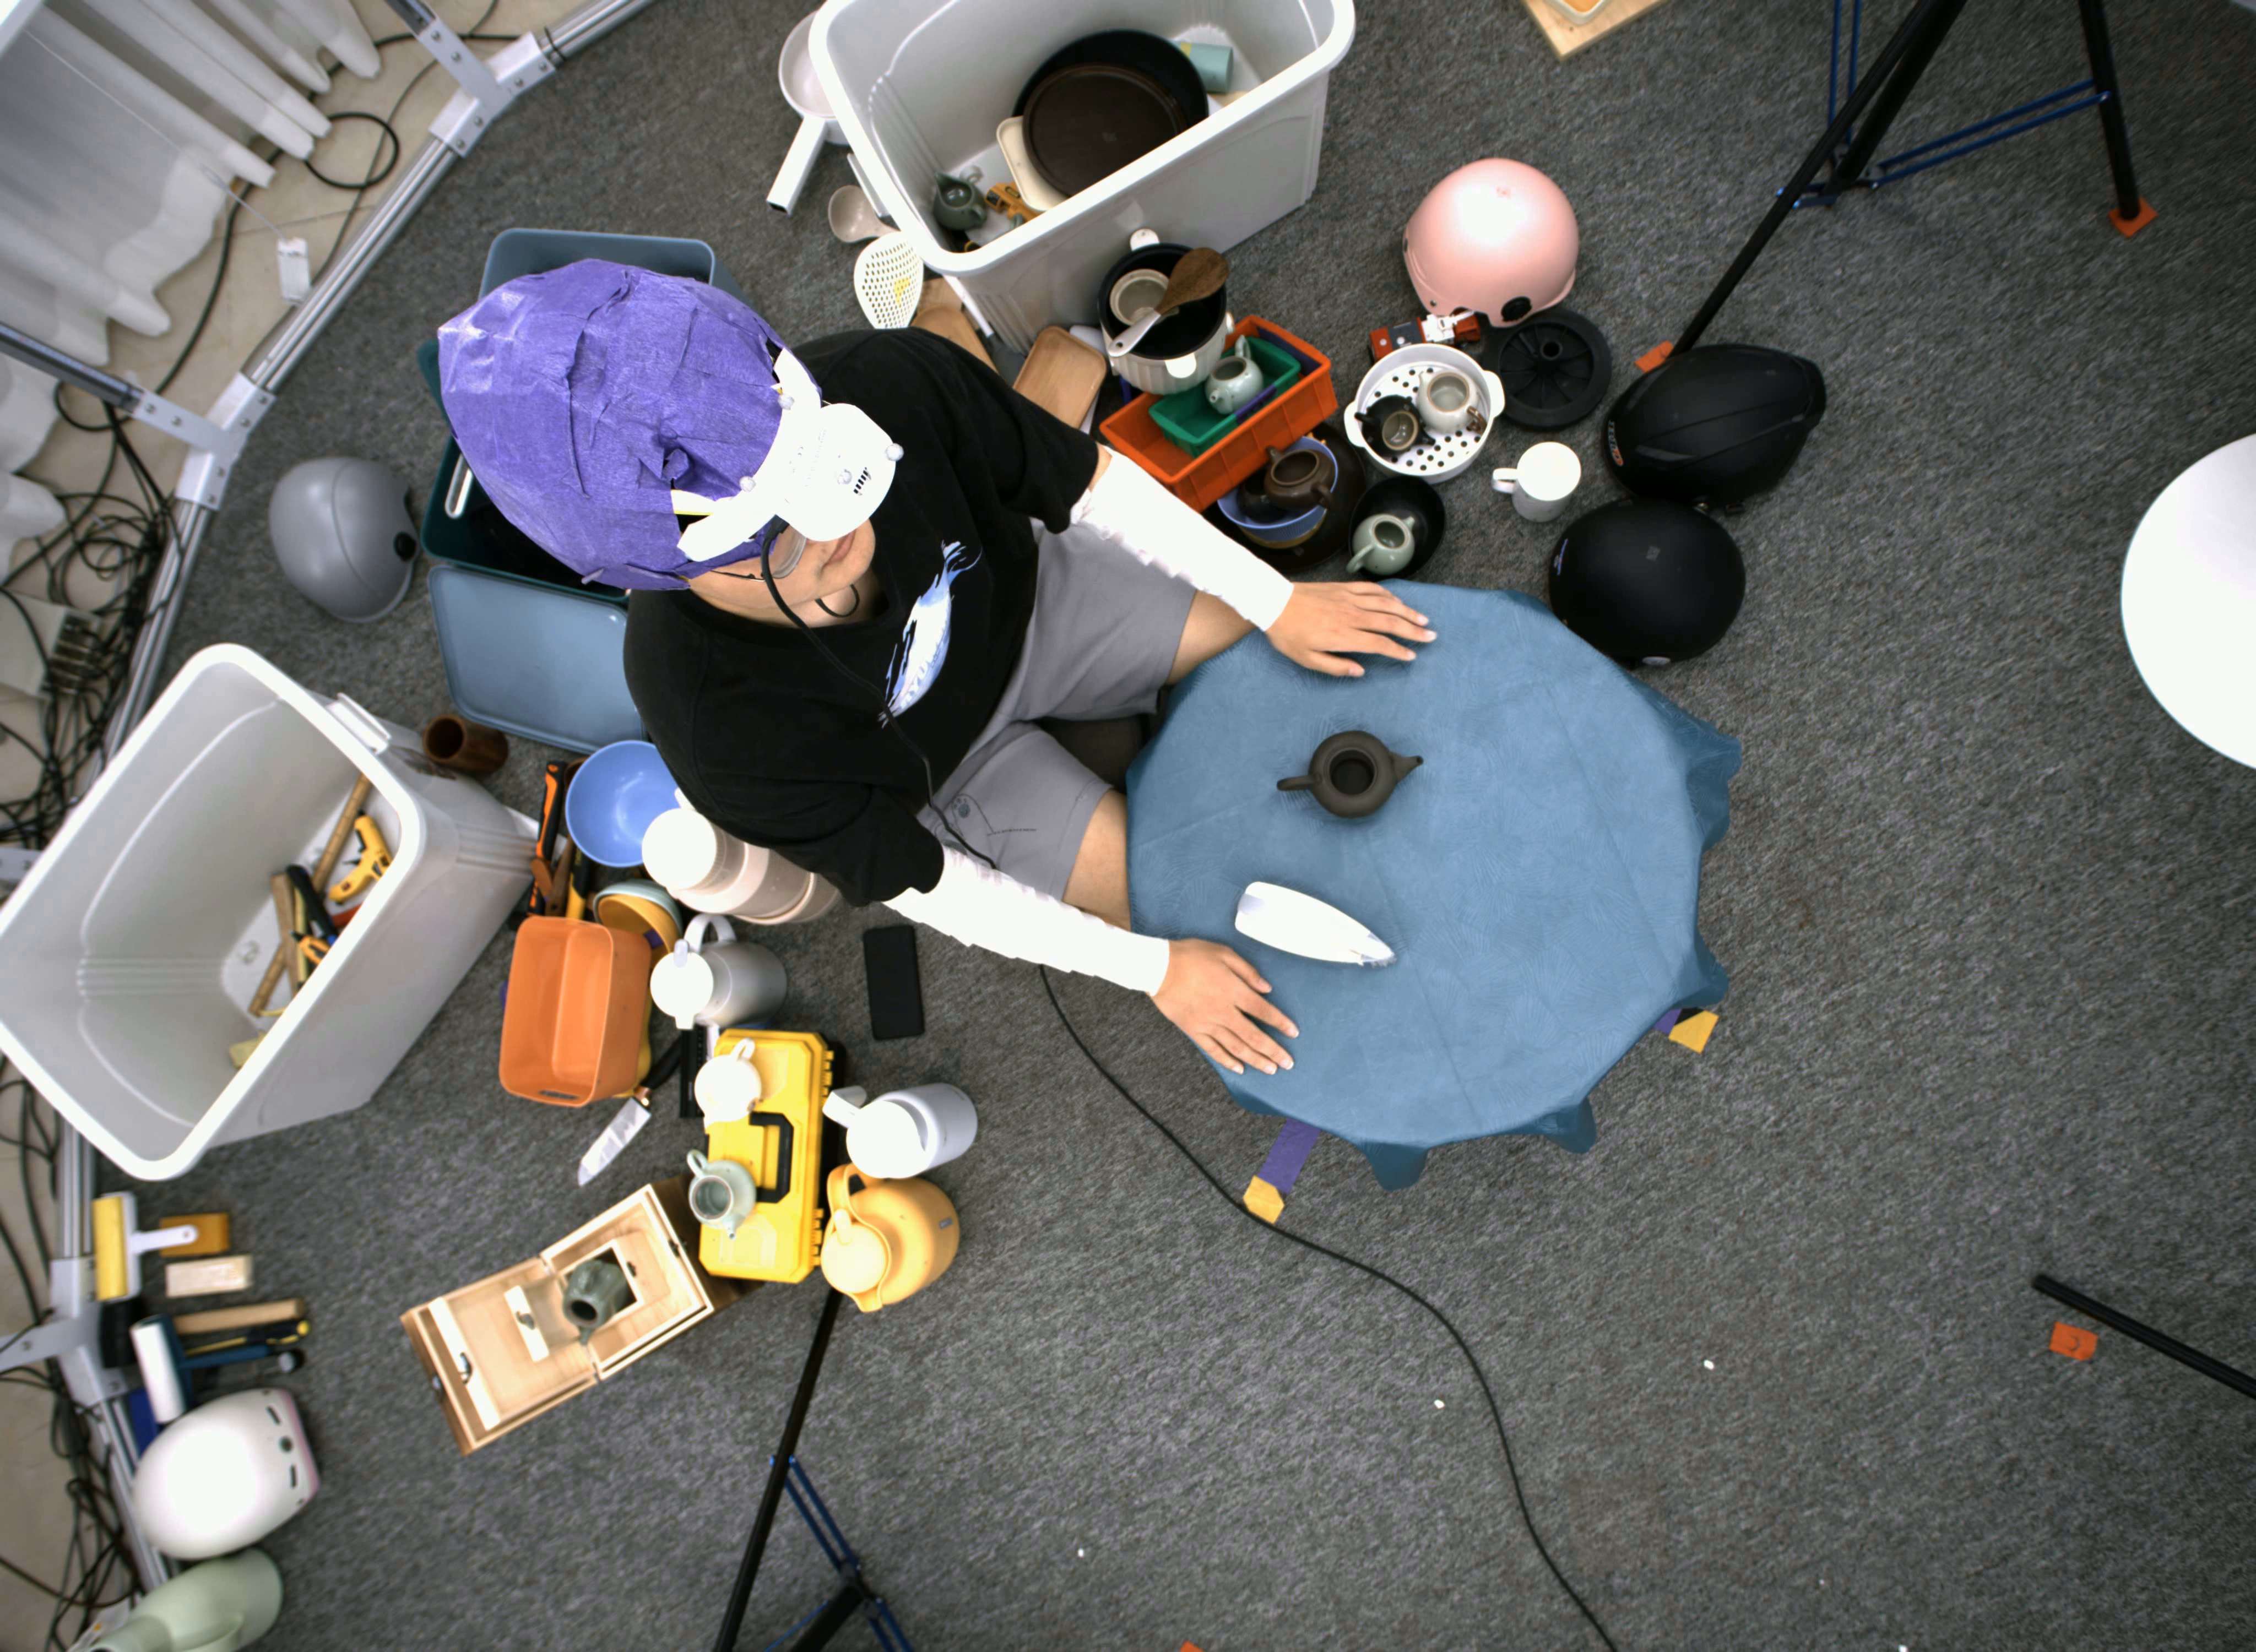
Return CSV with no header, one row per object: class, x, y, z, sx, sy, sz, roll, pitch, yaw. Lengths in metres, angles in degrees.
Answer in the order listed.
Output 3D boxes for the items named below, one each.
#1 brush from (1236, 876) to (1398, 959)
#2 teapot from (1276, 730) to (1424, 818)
brush,0.194,0.102,1.425,0.175,0.094,0.061,20,93,9
teapot,0.231,-0.055,1.440,0.155,0.064,0.092,-9,84,9
